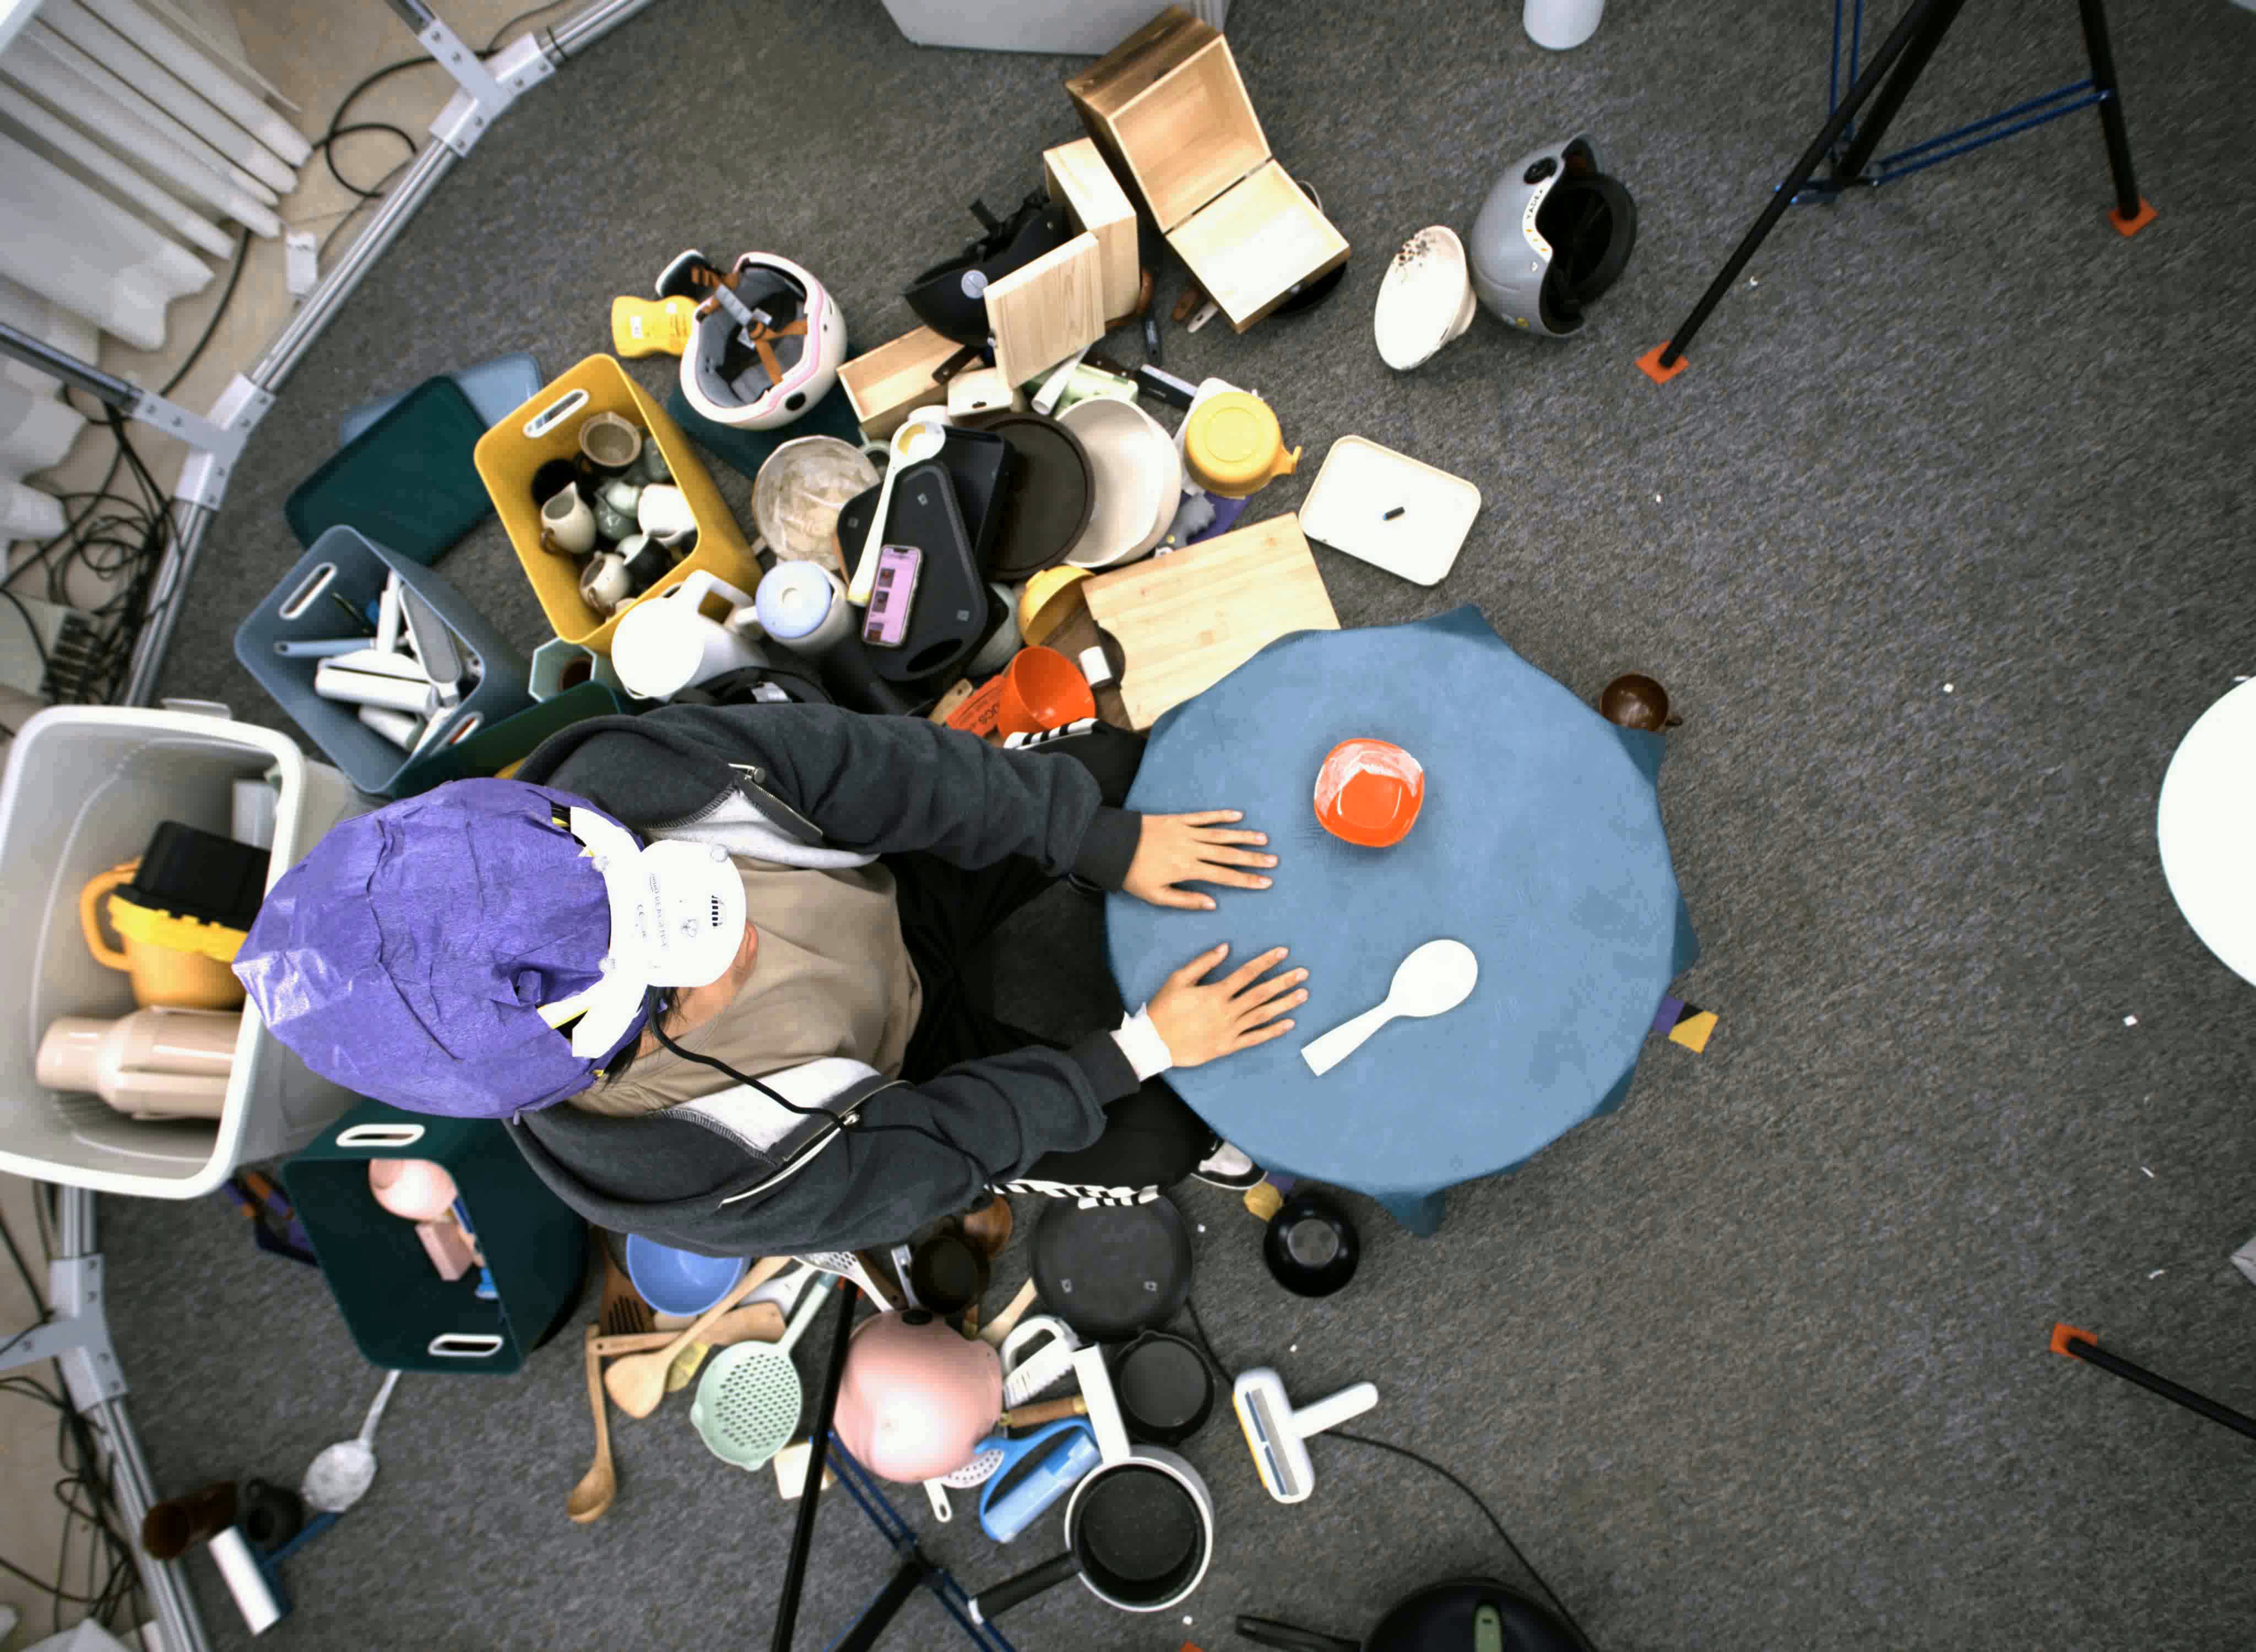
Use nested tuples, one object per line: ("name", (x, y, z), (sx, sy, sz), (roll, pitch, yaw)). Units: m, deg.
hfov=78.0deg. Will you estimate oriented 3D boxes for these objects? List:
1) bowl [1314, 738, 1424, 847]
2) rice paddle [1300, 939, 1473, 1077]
("bowl", (0.251, -0.034, 1.441), (0.119, 0.051, 0.118), (-1, 86, 9))
("rice paddle", (0.270, 0.188, 1.437), (0.206, 0.029, 0.068), (-36, 83, 6))
